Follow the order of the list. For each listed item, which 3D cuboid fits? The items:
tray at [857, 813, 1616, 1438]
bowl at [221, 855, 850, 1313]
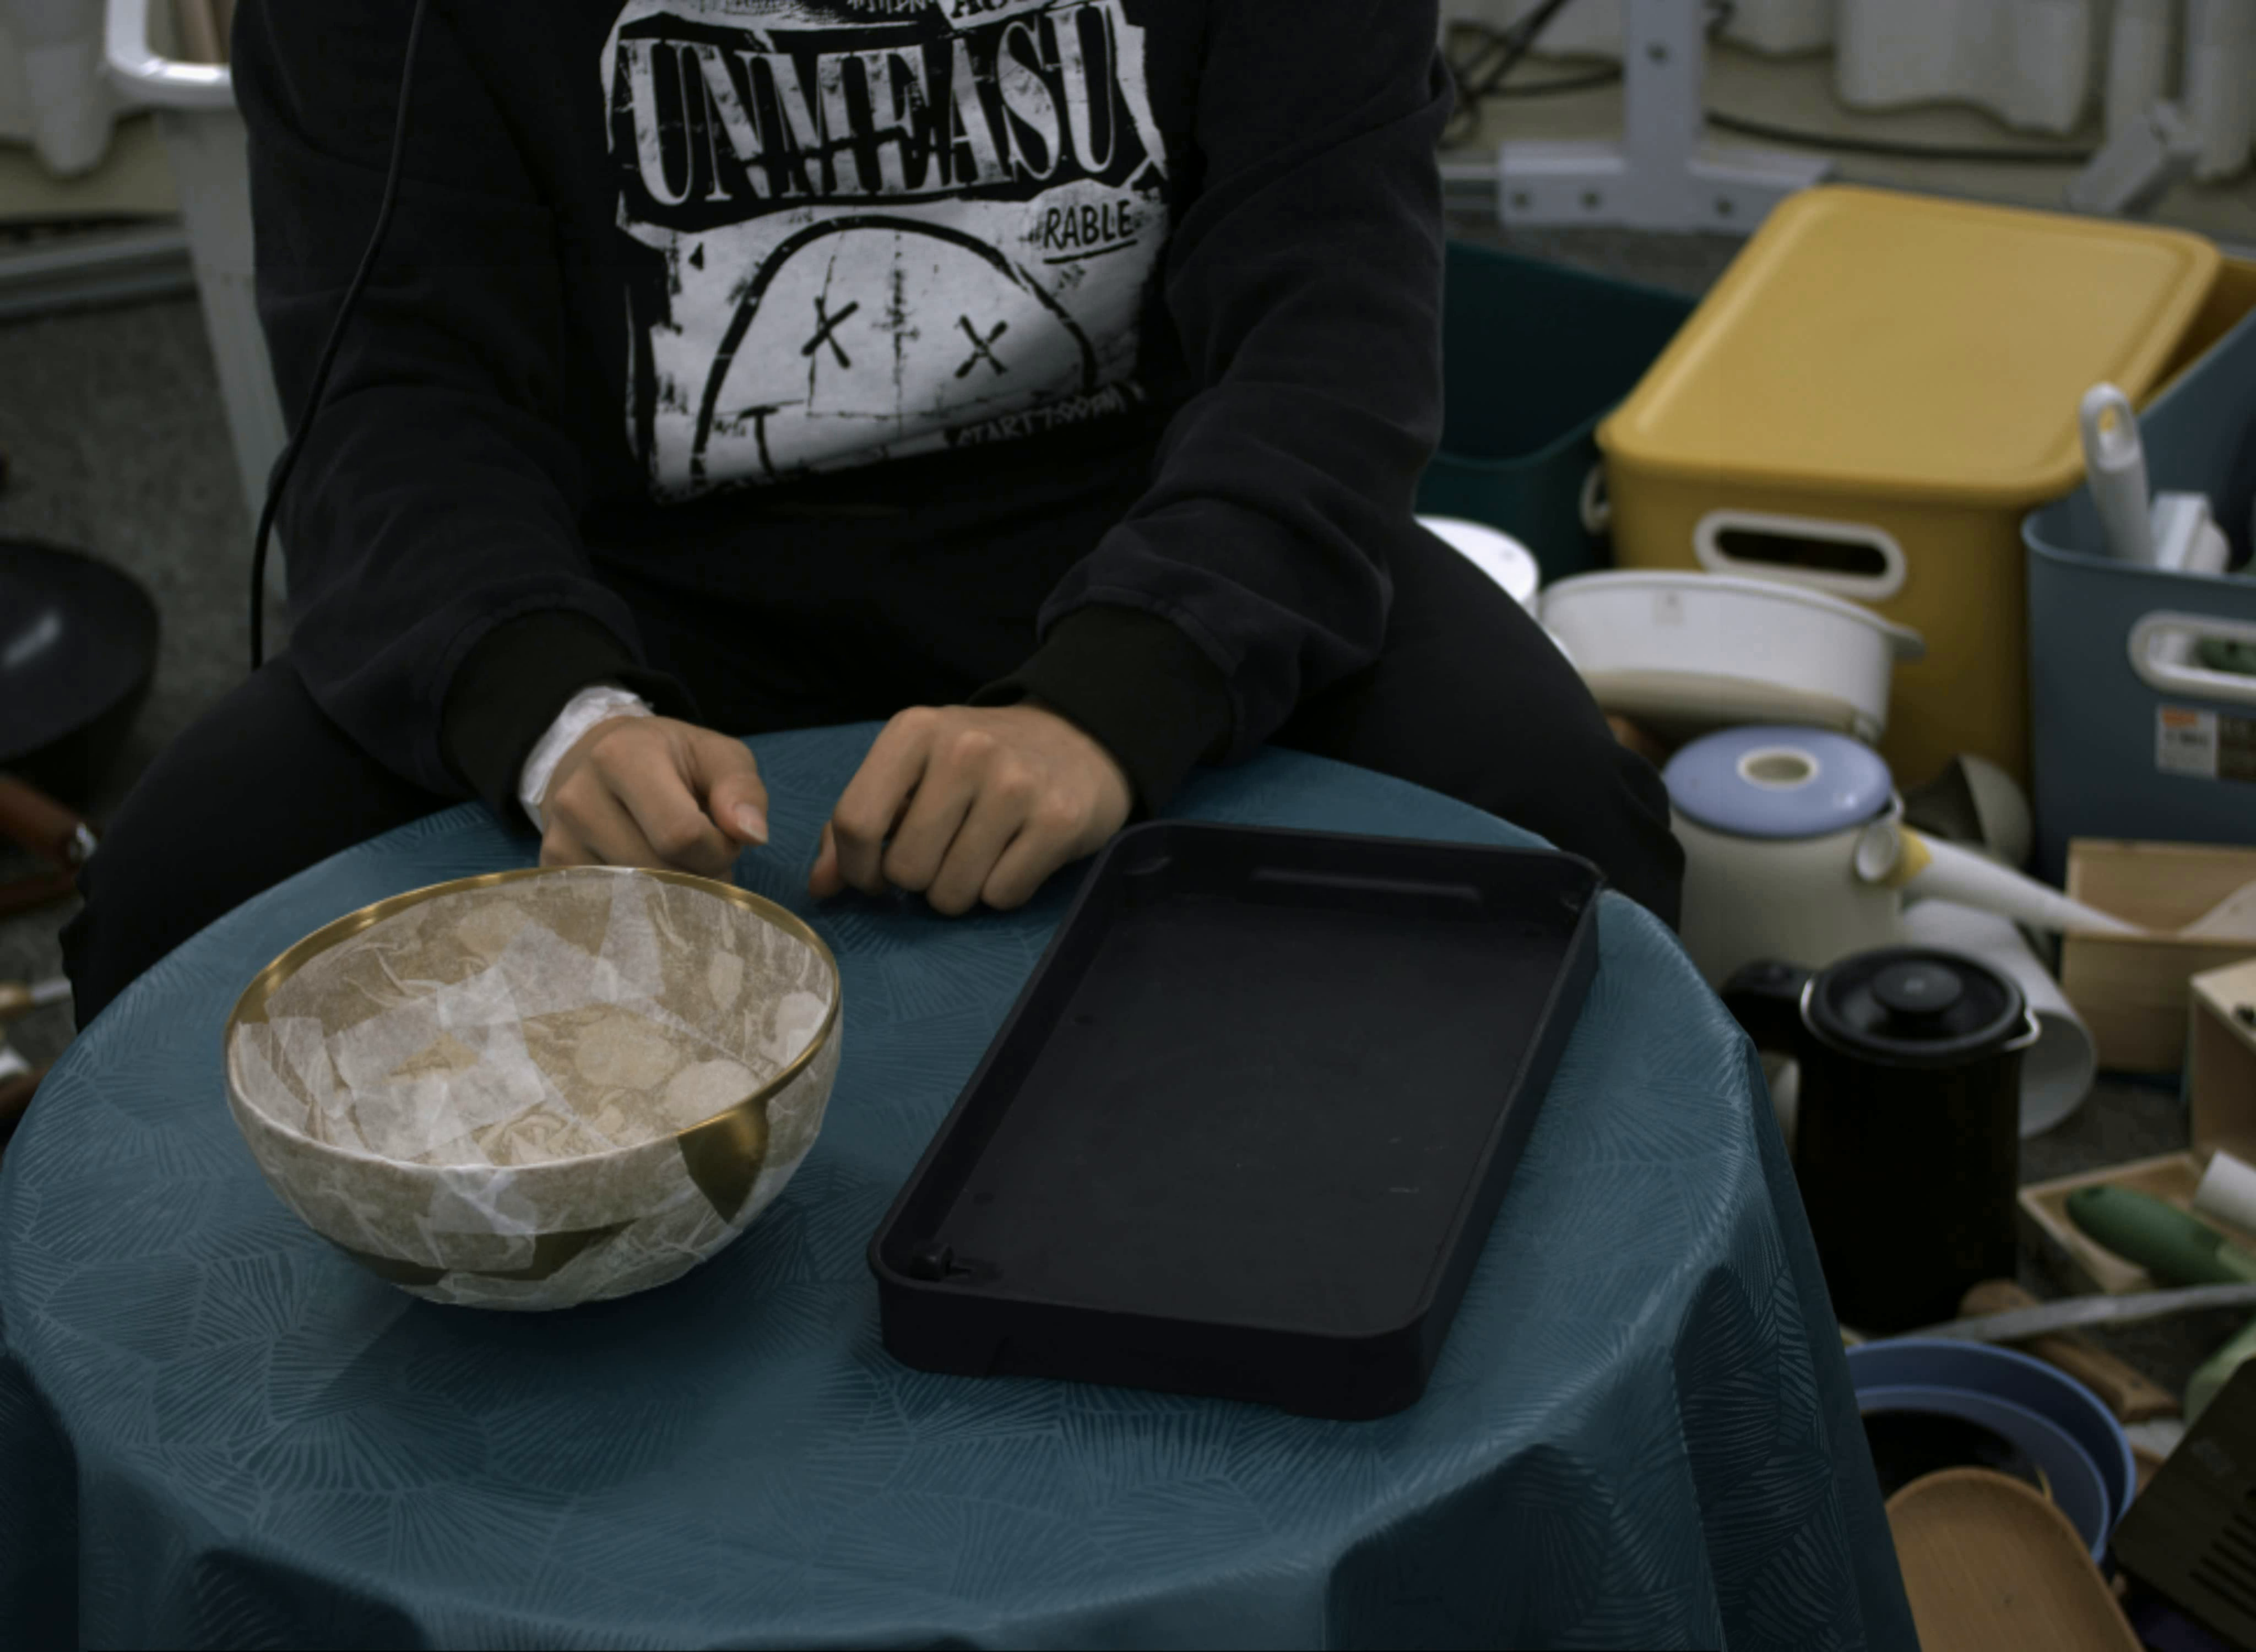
[{"bbox_3d":[0.043,0.093,1.878,0.183,0.036,0.323,6,30,16],"label":"tray"},{"bbox_3d":[-0.186,0.096,1.829,0.213,0.093,0.218,-4,26,2],"label":"bowl"}]
